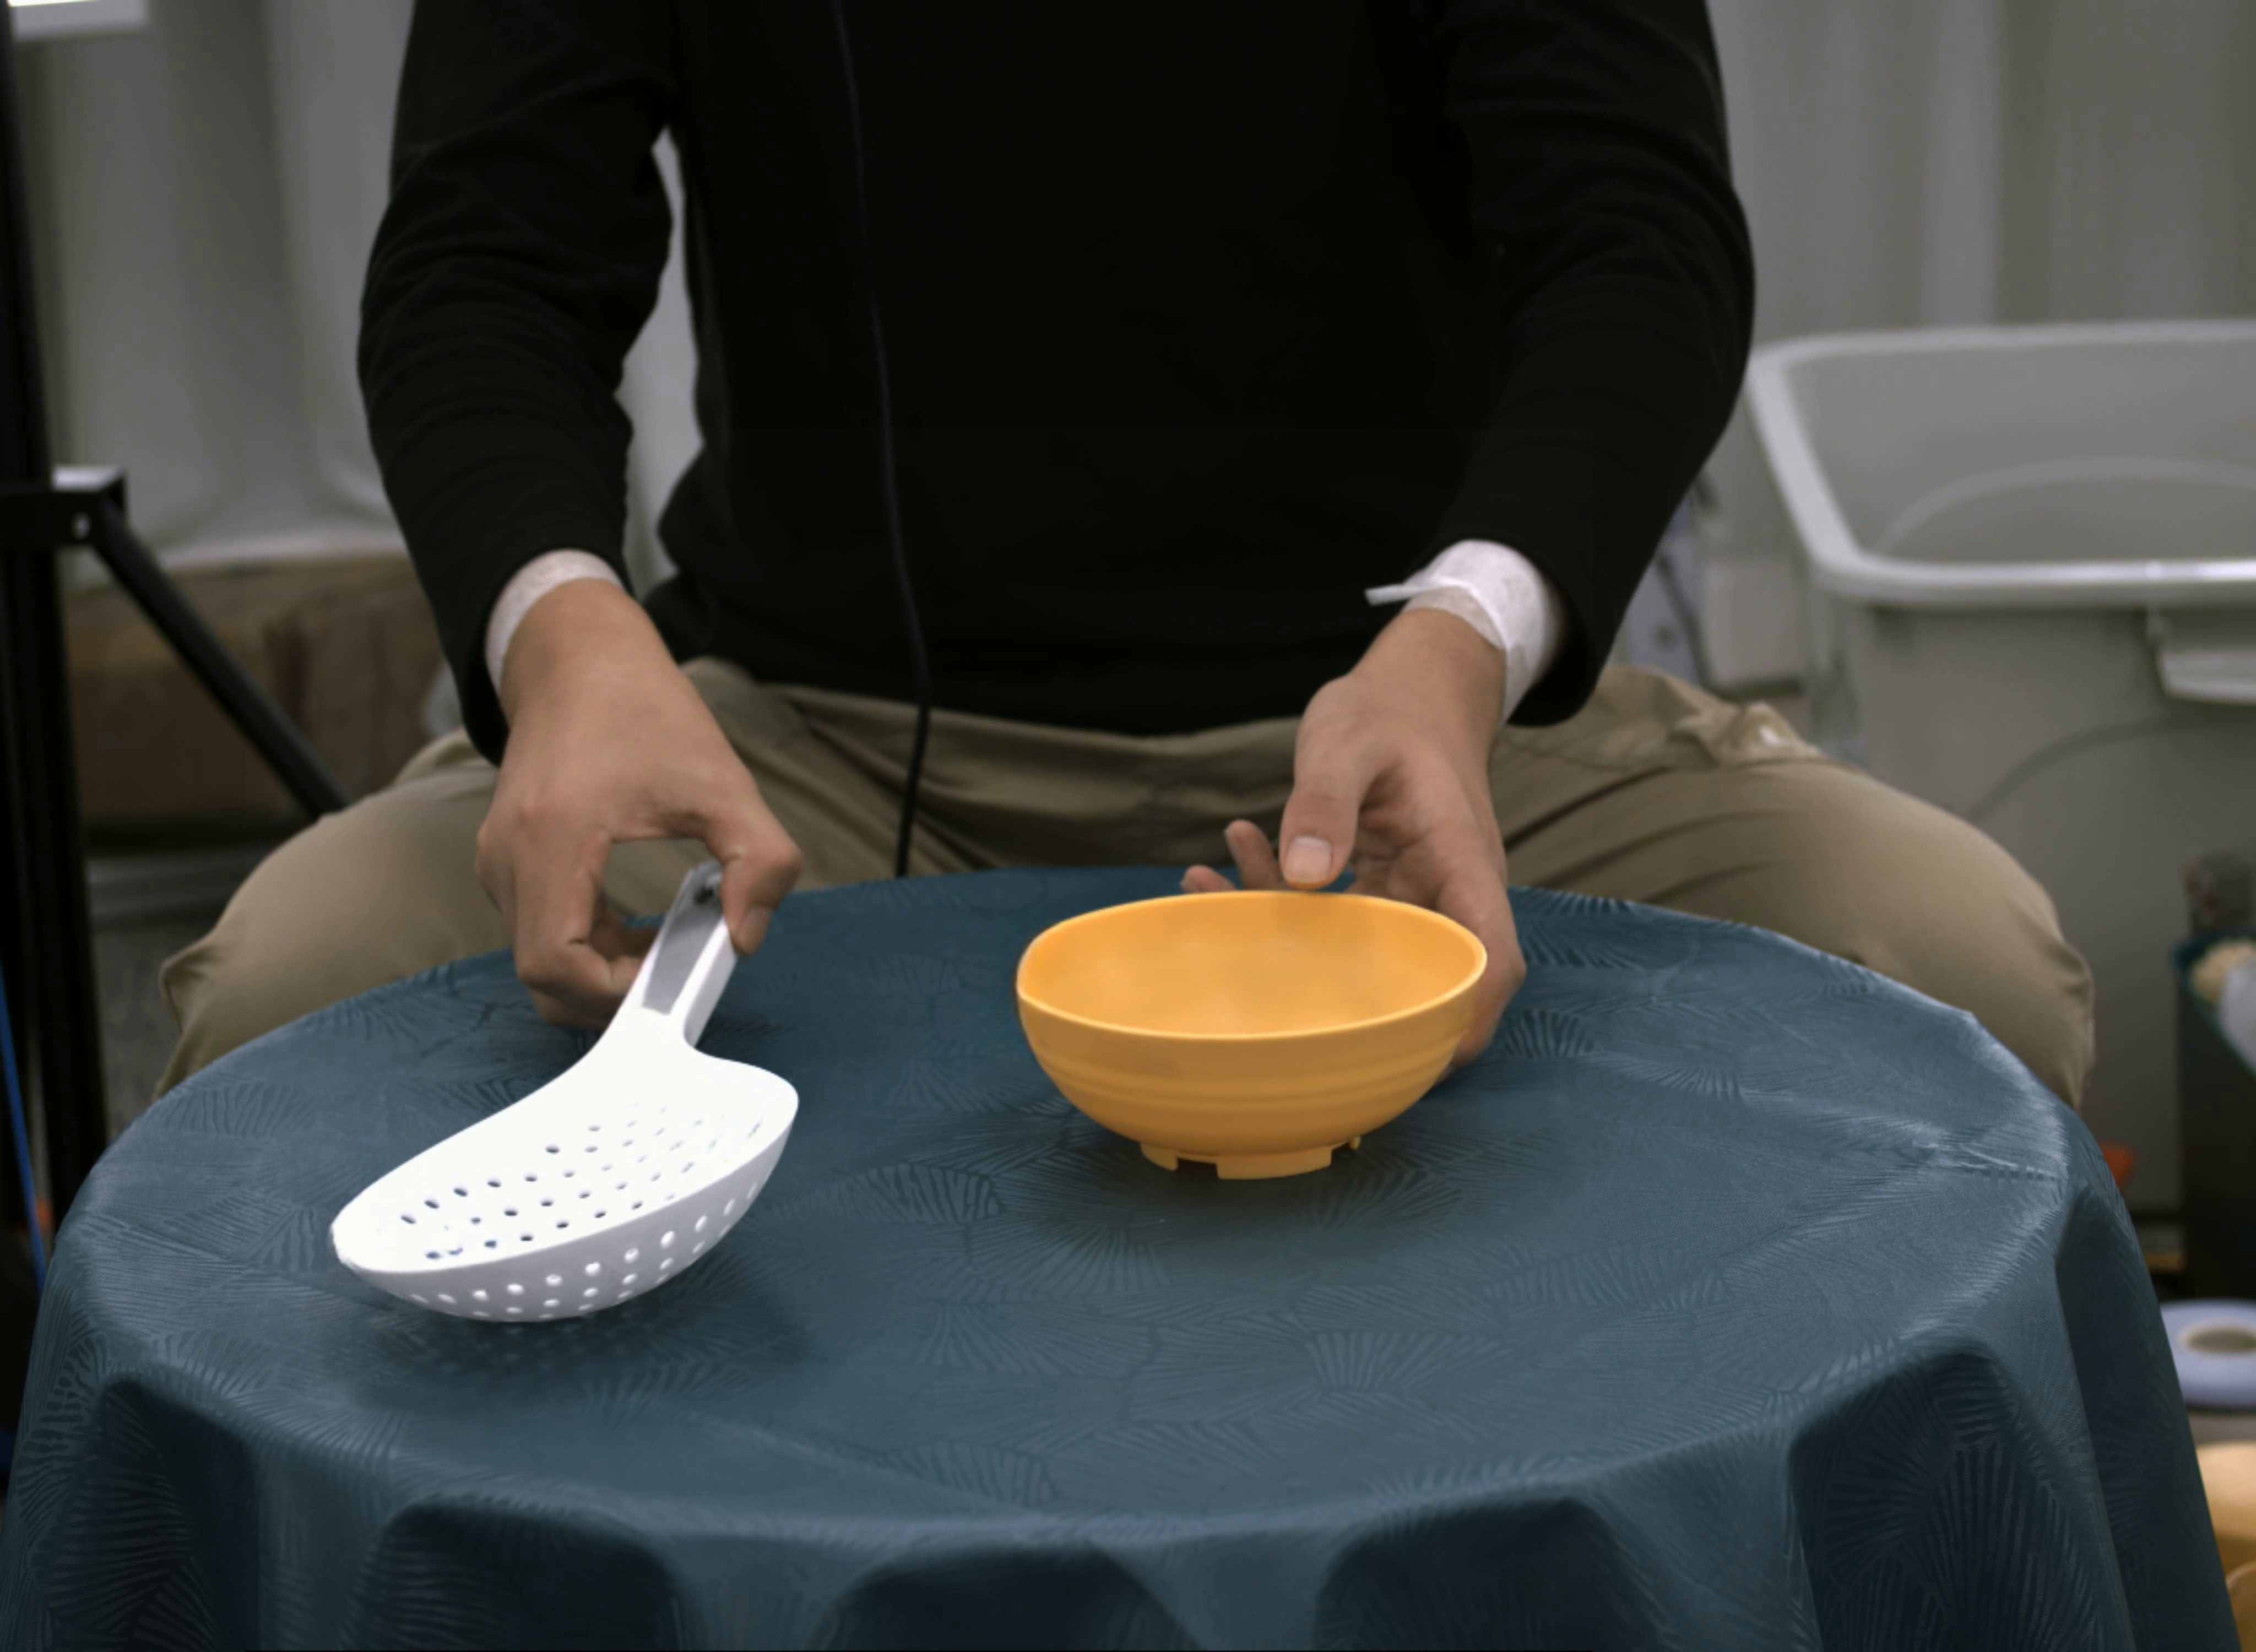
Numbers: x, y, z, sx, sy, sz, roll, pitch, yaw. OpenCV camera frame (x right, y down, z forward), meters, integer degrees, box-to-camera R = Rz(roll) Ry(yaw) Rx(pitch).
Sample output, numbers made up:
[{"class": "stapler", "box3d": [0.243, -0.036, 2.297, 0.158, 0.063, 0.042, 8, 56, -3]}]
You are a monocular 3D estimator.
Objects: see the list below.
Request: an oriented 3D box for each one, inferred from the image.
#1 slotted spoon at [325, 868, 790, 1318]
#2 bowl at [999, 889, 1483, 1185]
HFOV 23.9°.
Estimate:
[{"class": "slotted spoon", "box3d": [-0.146, 0.071, 1.586, 0.136, 0.045, 0.350, -15, 19, 10]}, {"class": "bowl", "box3d": [0.034, 0.069, 1.588, 0.144, 0.060, 0.146, -1, 16, -1]}]
